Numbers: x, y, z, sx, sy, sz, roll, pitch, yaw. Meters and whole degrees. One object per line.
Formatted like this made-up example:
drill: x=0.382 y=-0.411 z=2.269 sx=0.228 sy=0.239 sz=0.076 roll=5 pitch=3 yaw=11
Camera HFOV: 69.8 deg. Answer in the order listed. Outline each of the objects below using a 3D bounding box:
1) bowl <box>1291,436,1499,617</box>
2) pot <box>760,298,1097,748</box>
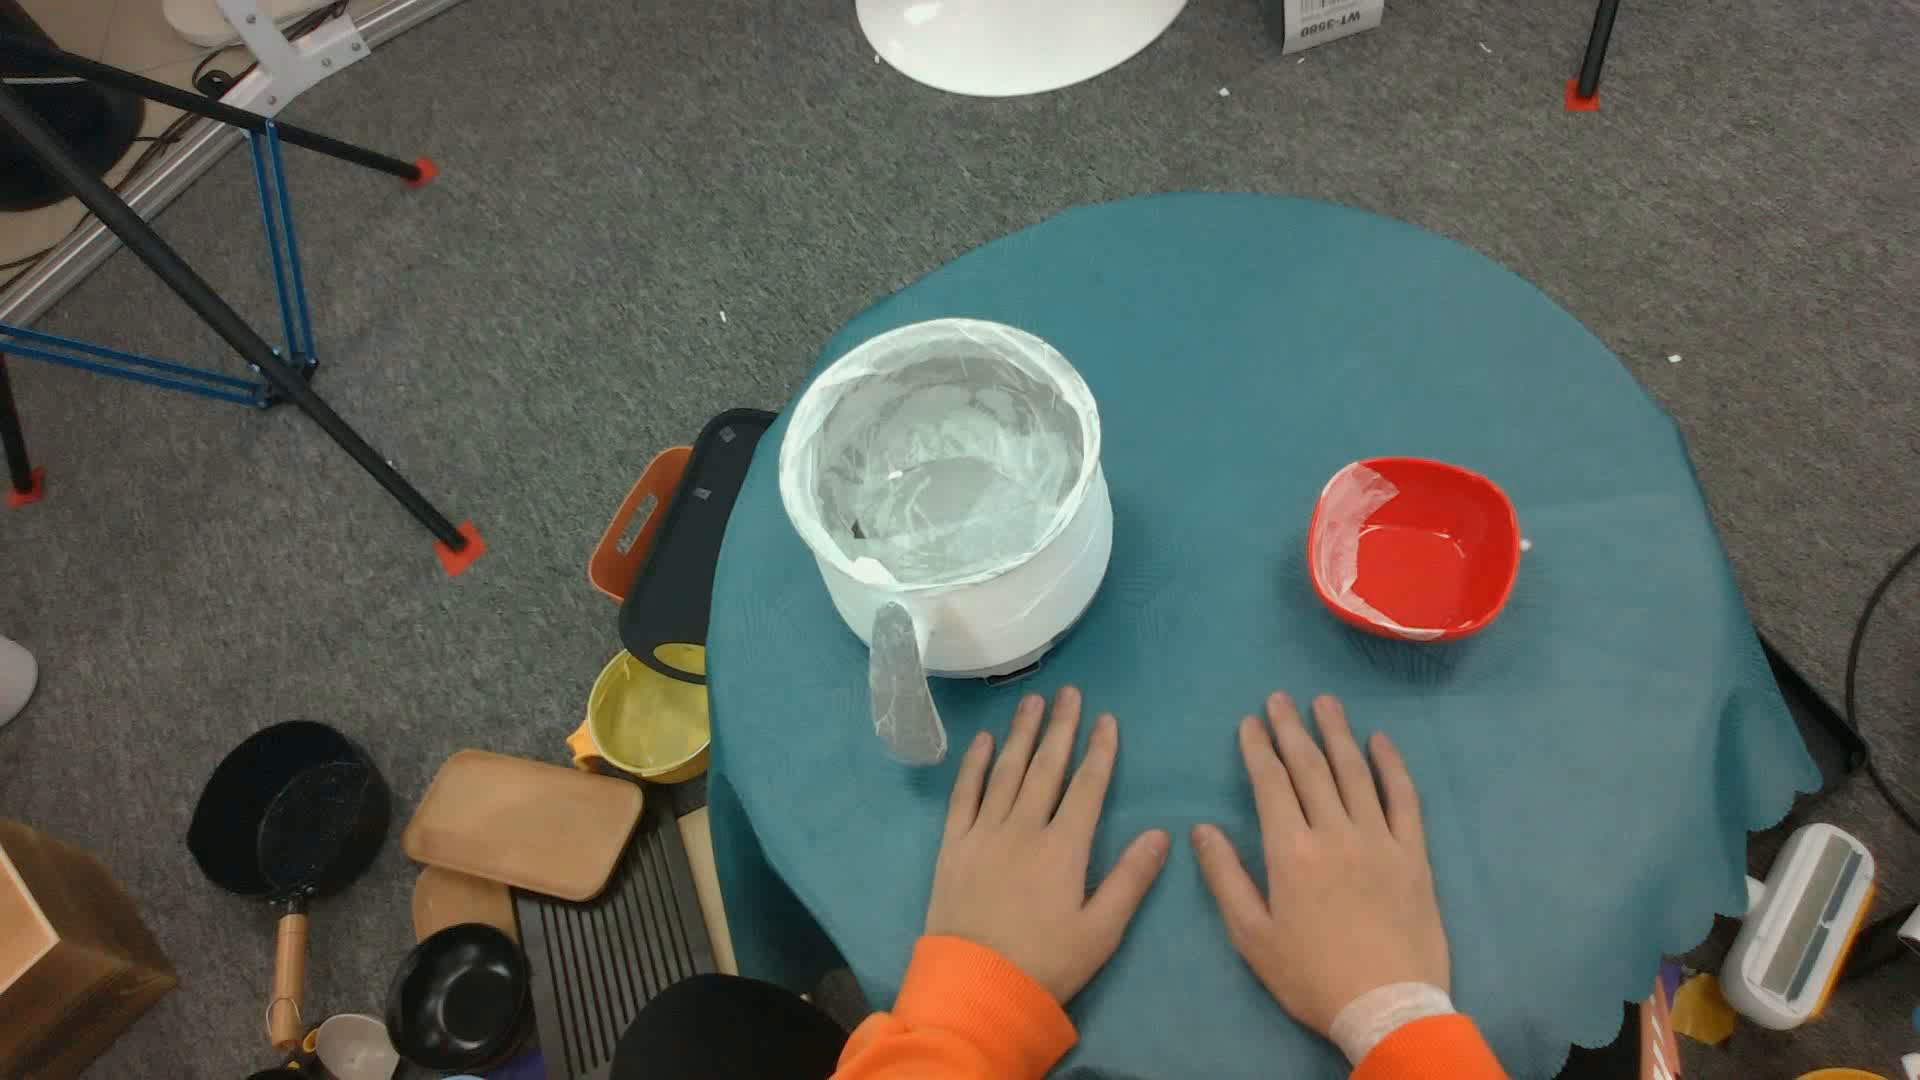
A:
bowl: x=0.243 y=0.000 z=0.782 sx=0.119 sy=0.051 sz=0.119 roll=-4 pitch=59 yaw=6
pot: x=-0.016 y=-0.006 z=0.782 sx=0.178 sy=0.136 sz=0.234 roll=4 pitch=62 yaw=13
